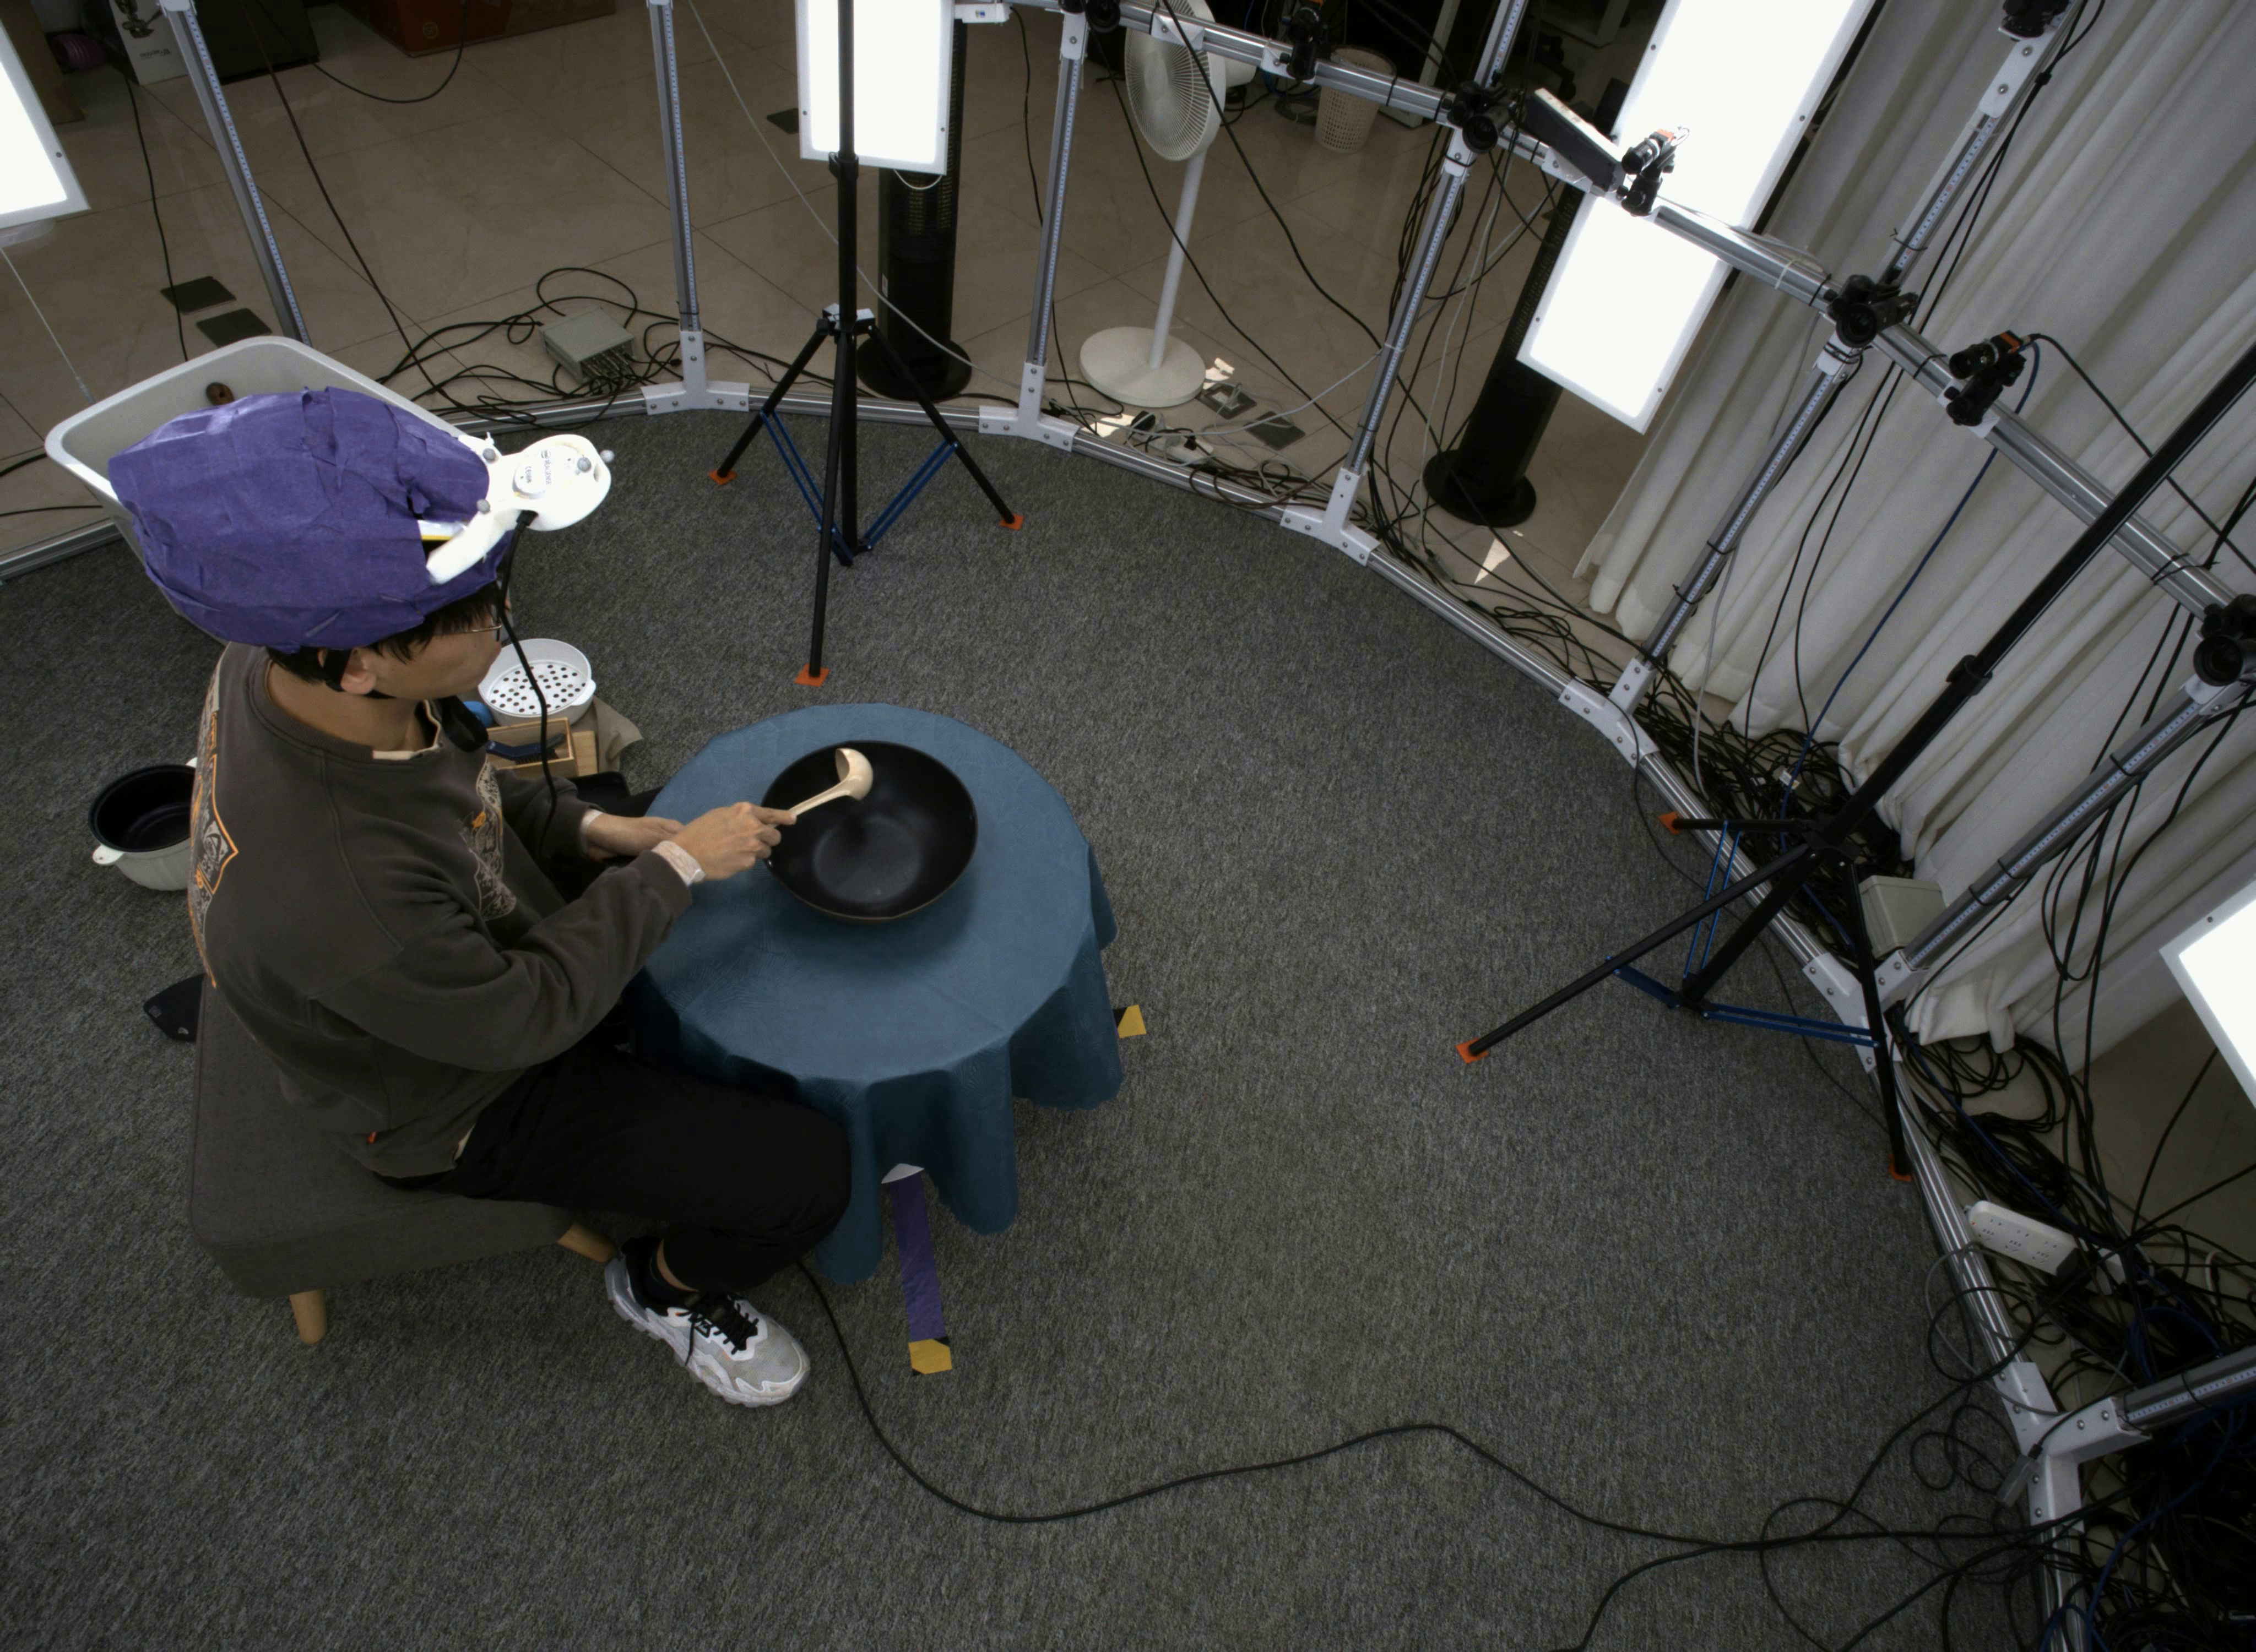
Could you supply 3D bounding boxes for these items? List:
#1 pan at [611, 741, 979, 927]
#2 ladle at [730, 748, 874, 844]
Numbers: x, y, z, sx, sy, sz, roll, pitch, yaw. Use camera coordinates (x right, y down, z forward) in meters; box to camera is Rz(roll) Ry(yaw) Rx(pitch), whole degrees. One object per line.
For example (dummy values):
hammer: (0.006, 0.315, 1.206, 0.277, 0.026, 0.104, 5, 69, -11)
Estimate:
pan: (-0.420, 0.036, 1.661, 0.464, 0.089, 0.281, -9, 57, -17)
ladle: (-0.424, -0.035, 1.632, 0.070, 0.074, 0.256, 15, 28, 31)
